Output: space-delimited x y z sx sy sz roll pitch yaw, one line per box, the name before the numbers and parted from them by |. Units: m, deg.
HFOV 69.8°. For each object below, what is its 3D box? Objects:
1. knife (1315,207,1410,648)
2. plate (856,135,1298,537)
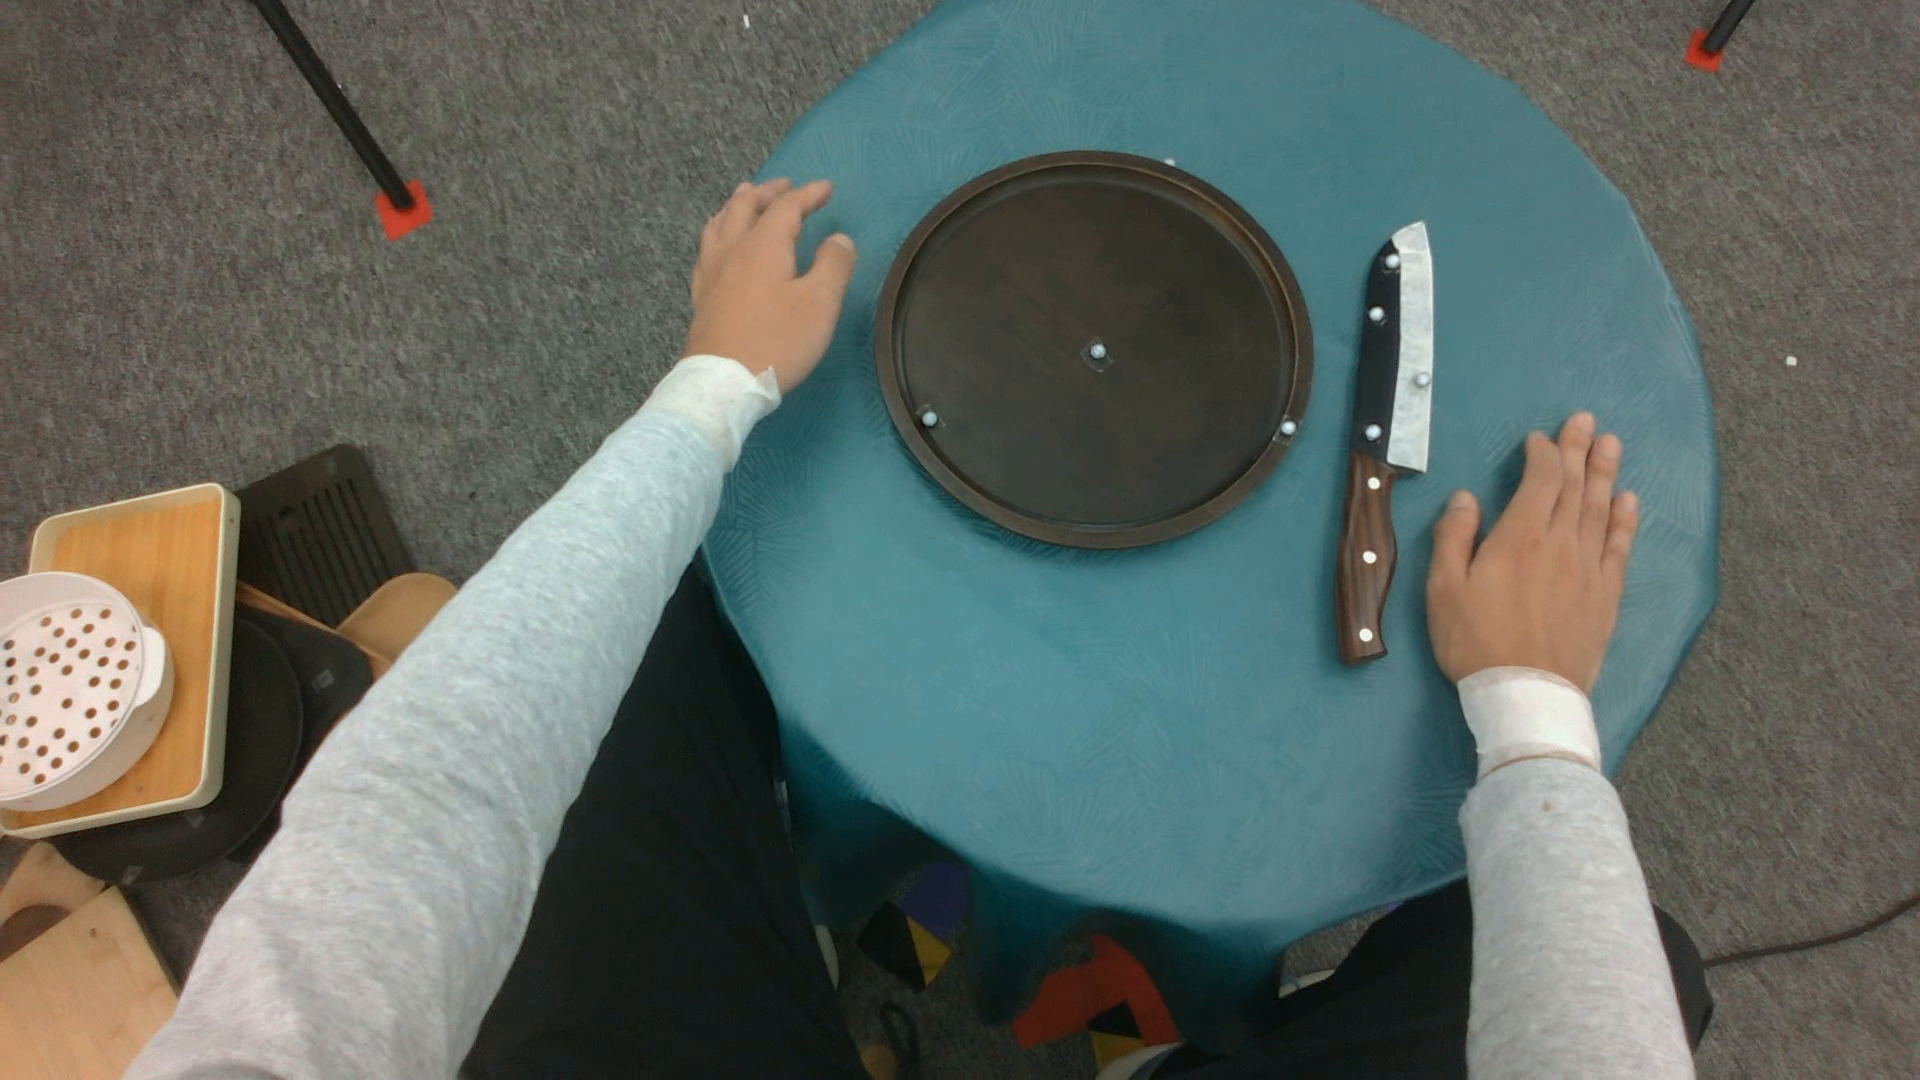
knife | 0.233 -0.073 0.790 0.050 0.020 0.290 14 69 -3
plate | 0.067 -0.121 0.794 0.255 0.029 0.255 1 72 -3
